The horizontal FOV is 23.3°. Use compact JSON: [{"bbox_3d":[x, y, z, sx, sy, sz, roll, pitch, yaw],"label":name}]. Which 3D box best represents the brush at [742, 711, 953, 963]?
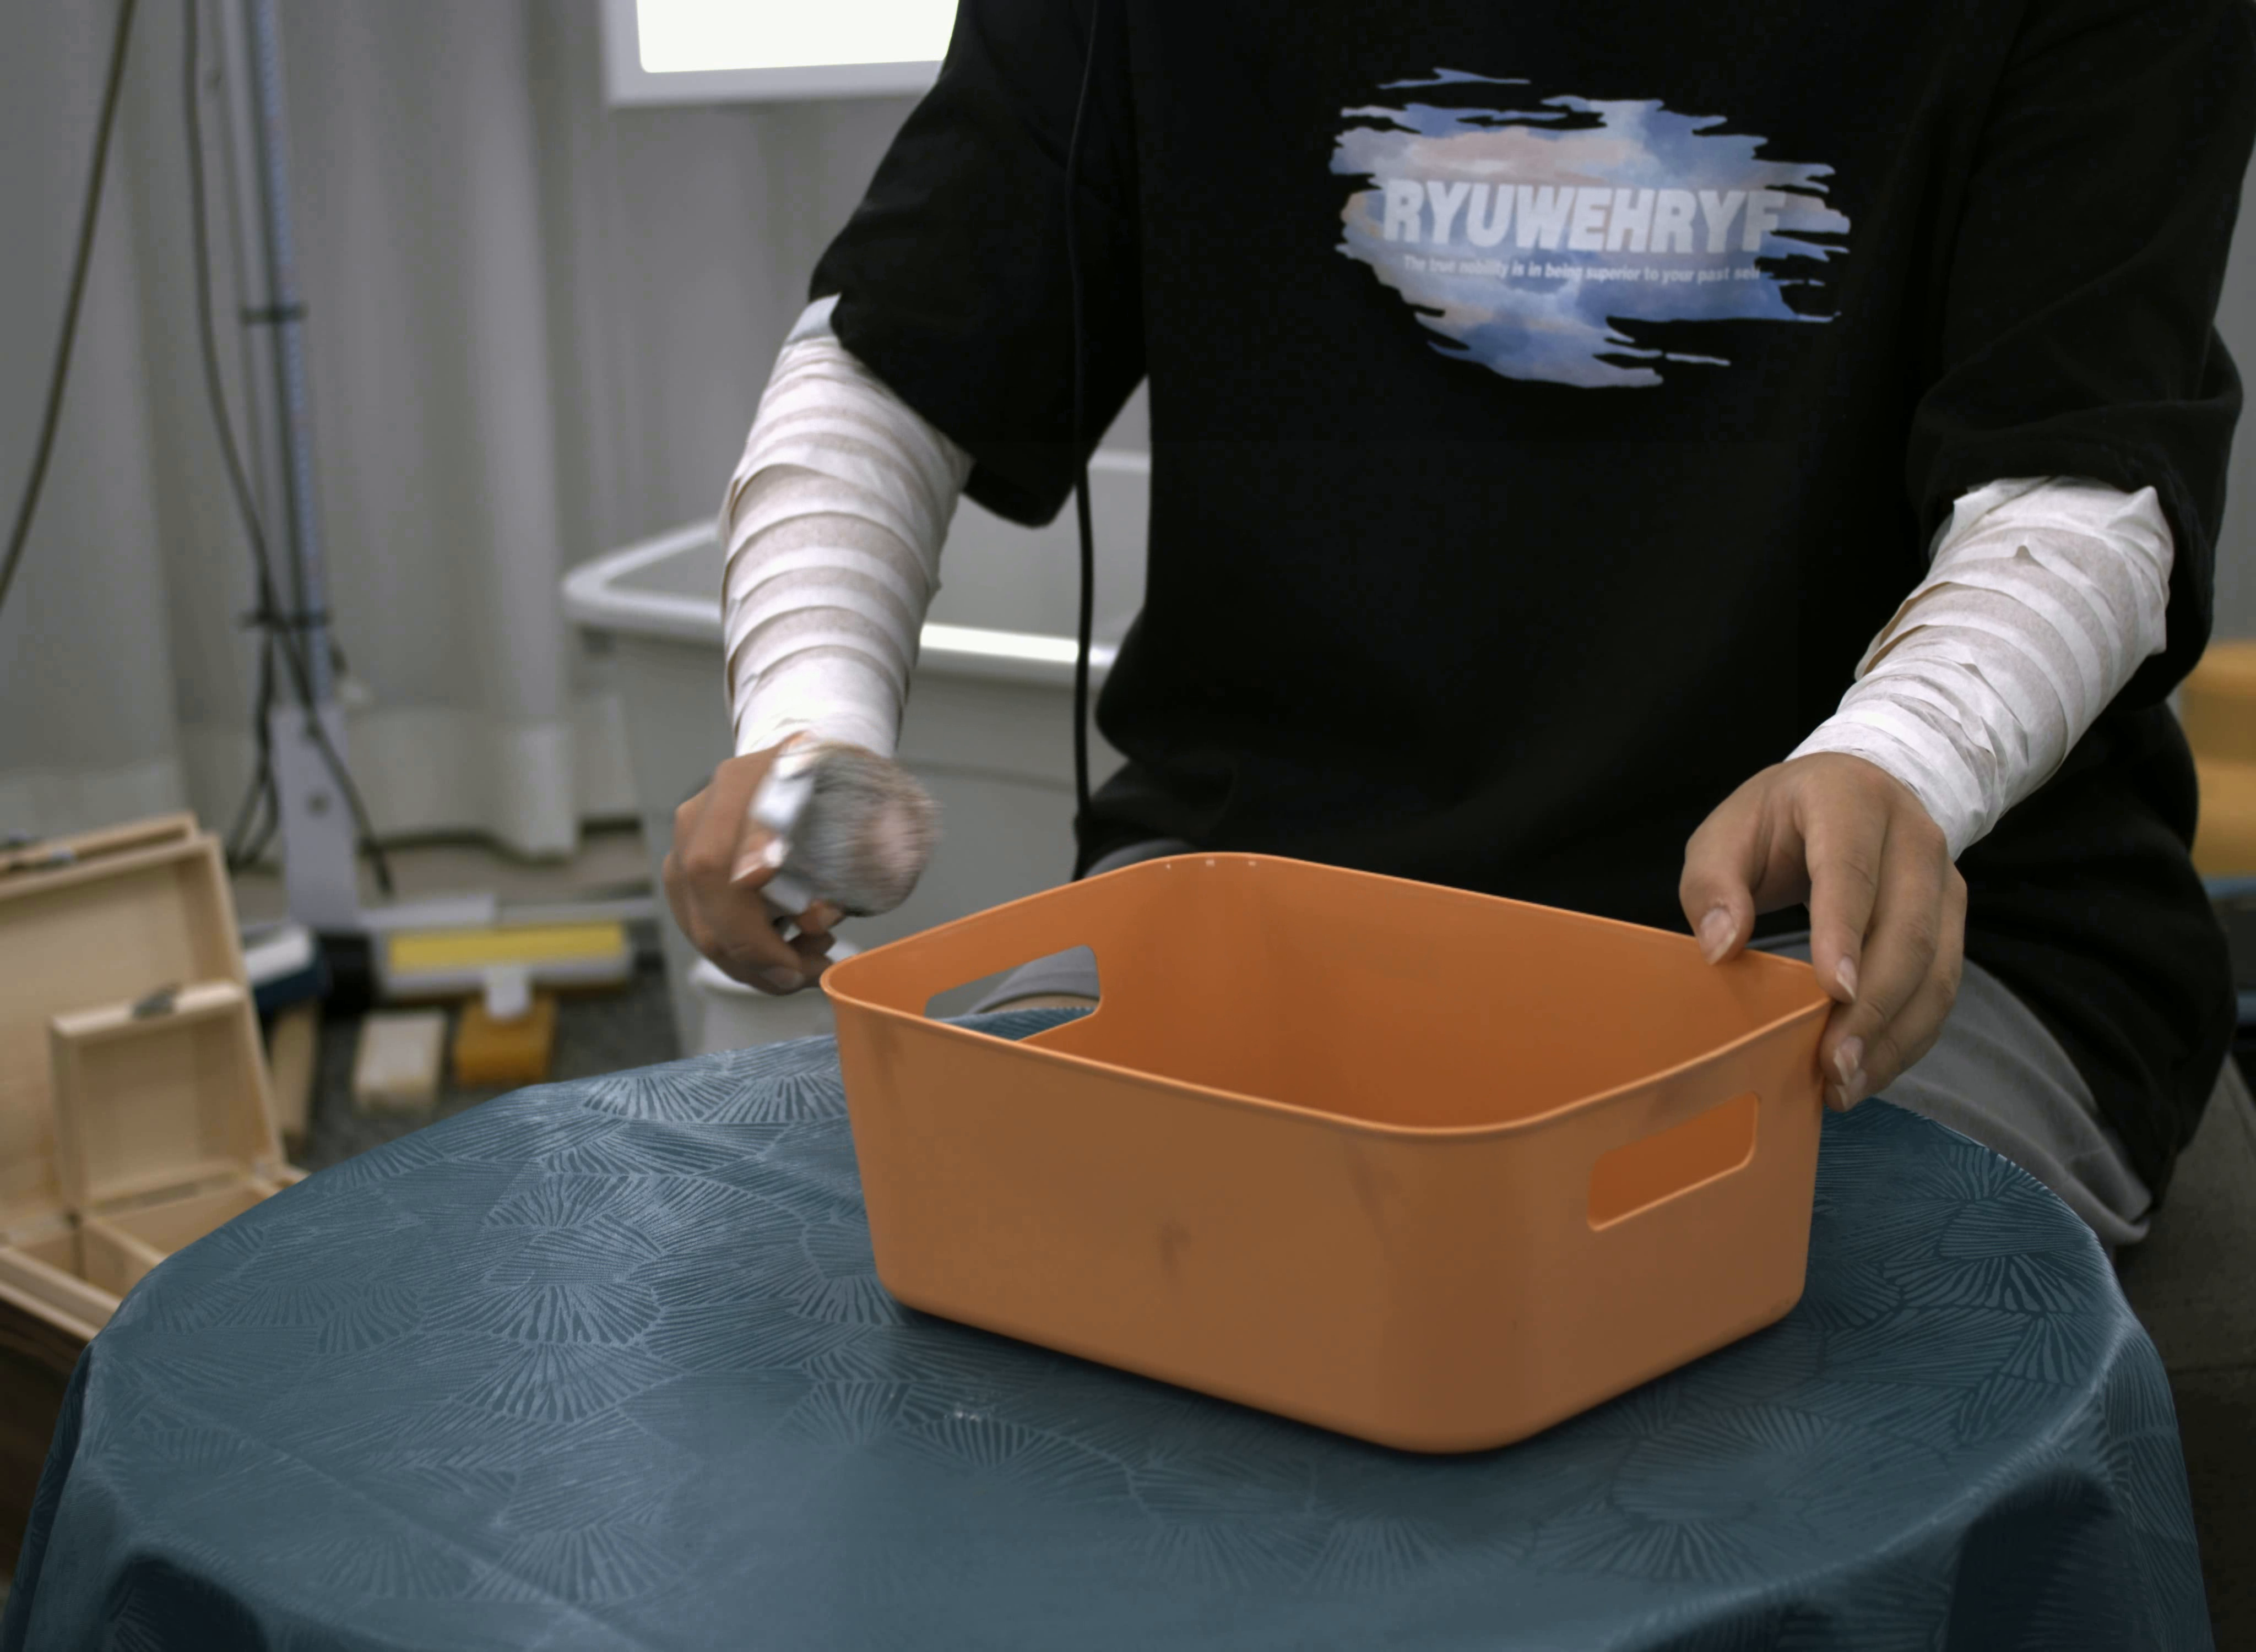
[{"bbox_3d":[-0.090,0.018,1.735,0.050,0.034,0.242,34,-17,2],"label":"brush"}]

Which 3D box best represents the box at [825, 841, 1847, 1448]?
[{"bbox_3d":[0.060,0.089,1.590,0.274,0.102,0.199,11,21,42],"label":"box"}]
